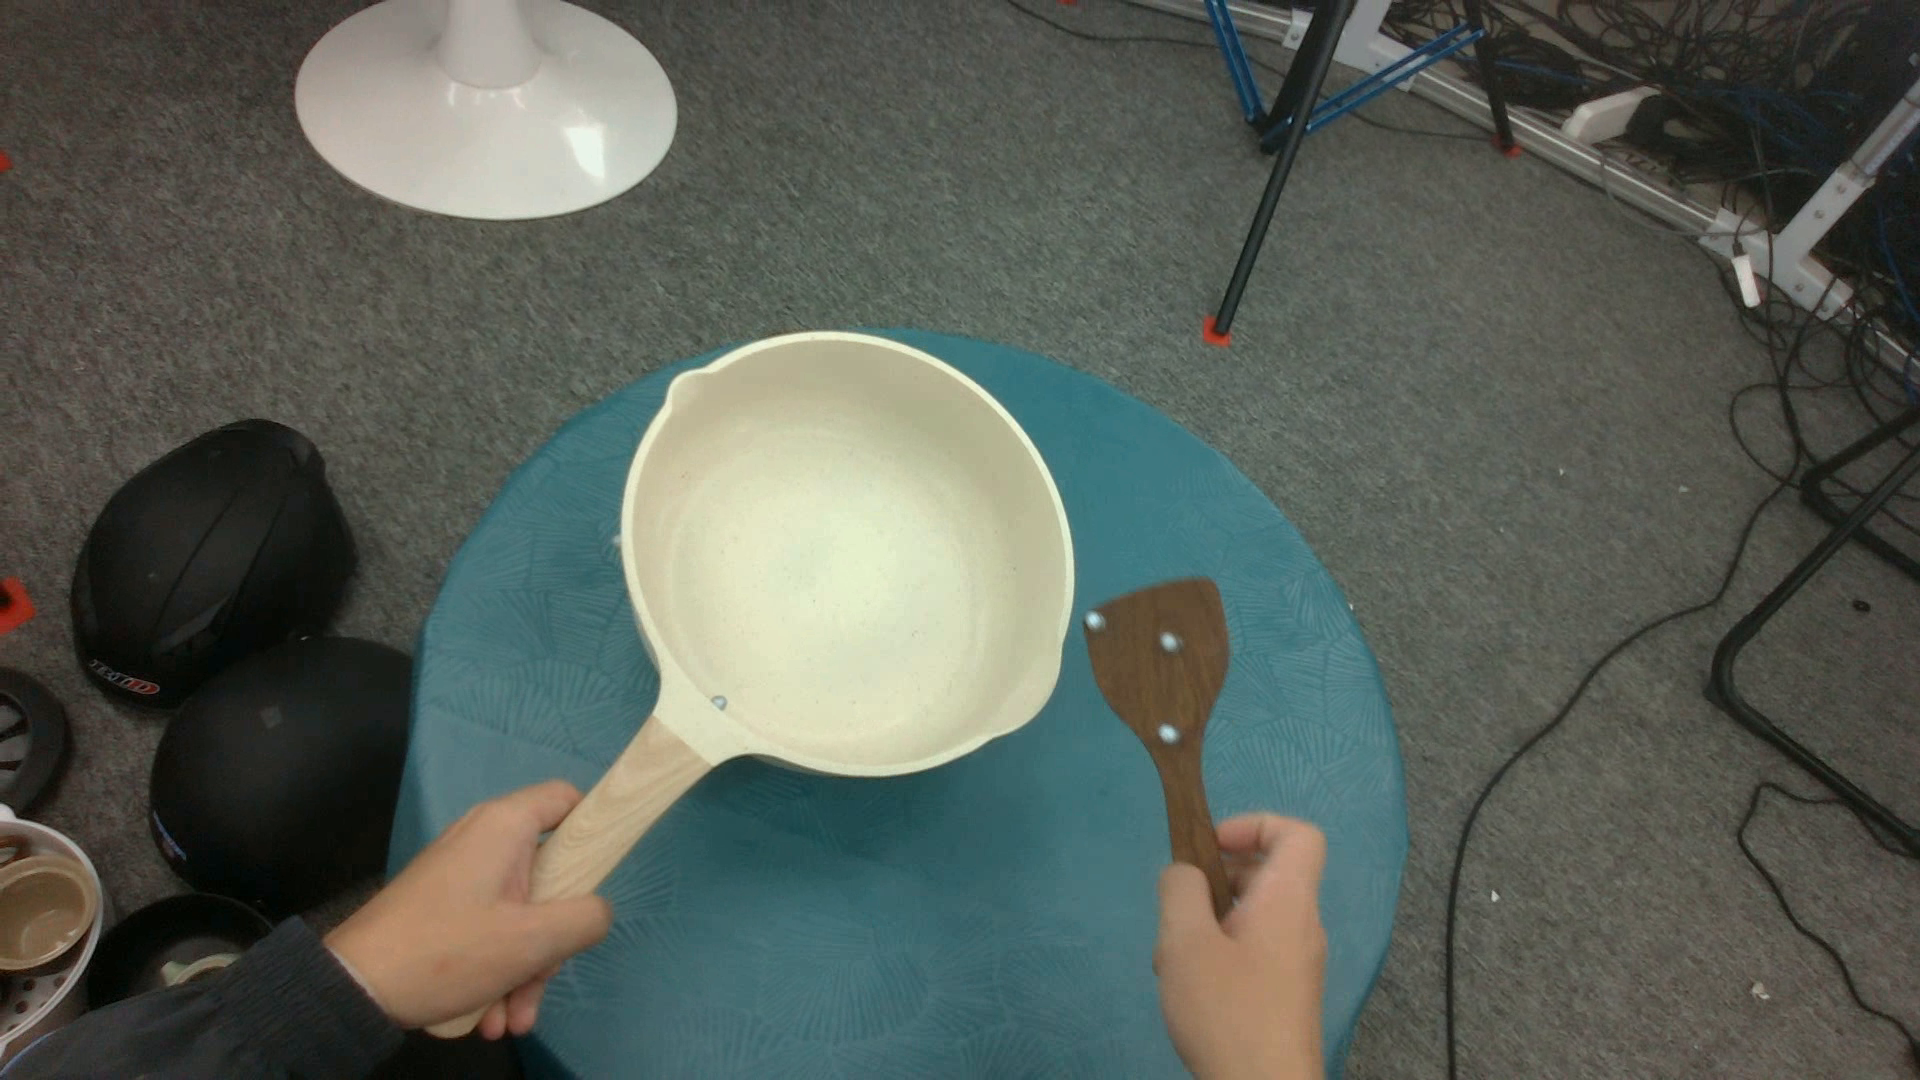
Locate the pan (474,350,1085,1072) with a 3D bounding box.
[{"bbox_3d":[-0.106,0.085,0.736,0.263,0.101,0.437,38,62,-3],"label":"pan"}]

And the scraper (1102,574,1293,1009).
[{"bbox_3d":[0.122,0.116,0.664,0.075,0.011,0.212,-21,57,19],"label":"scraper"}]
